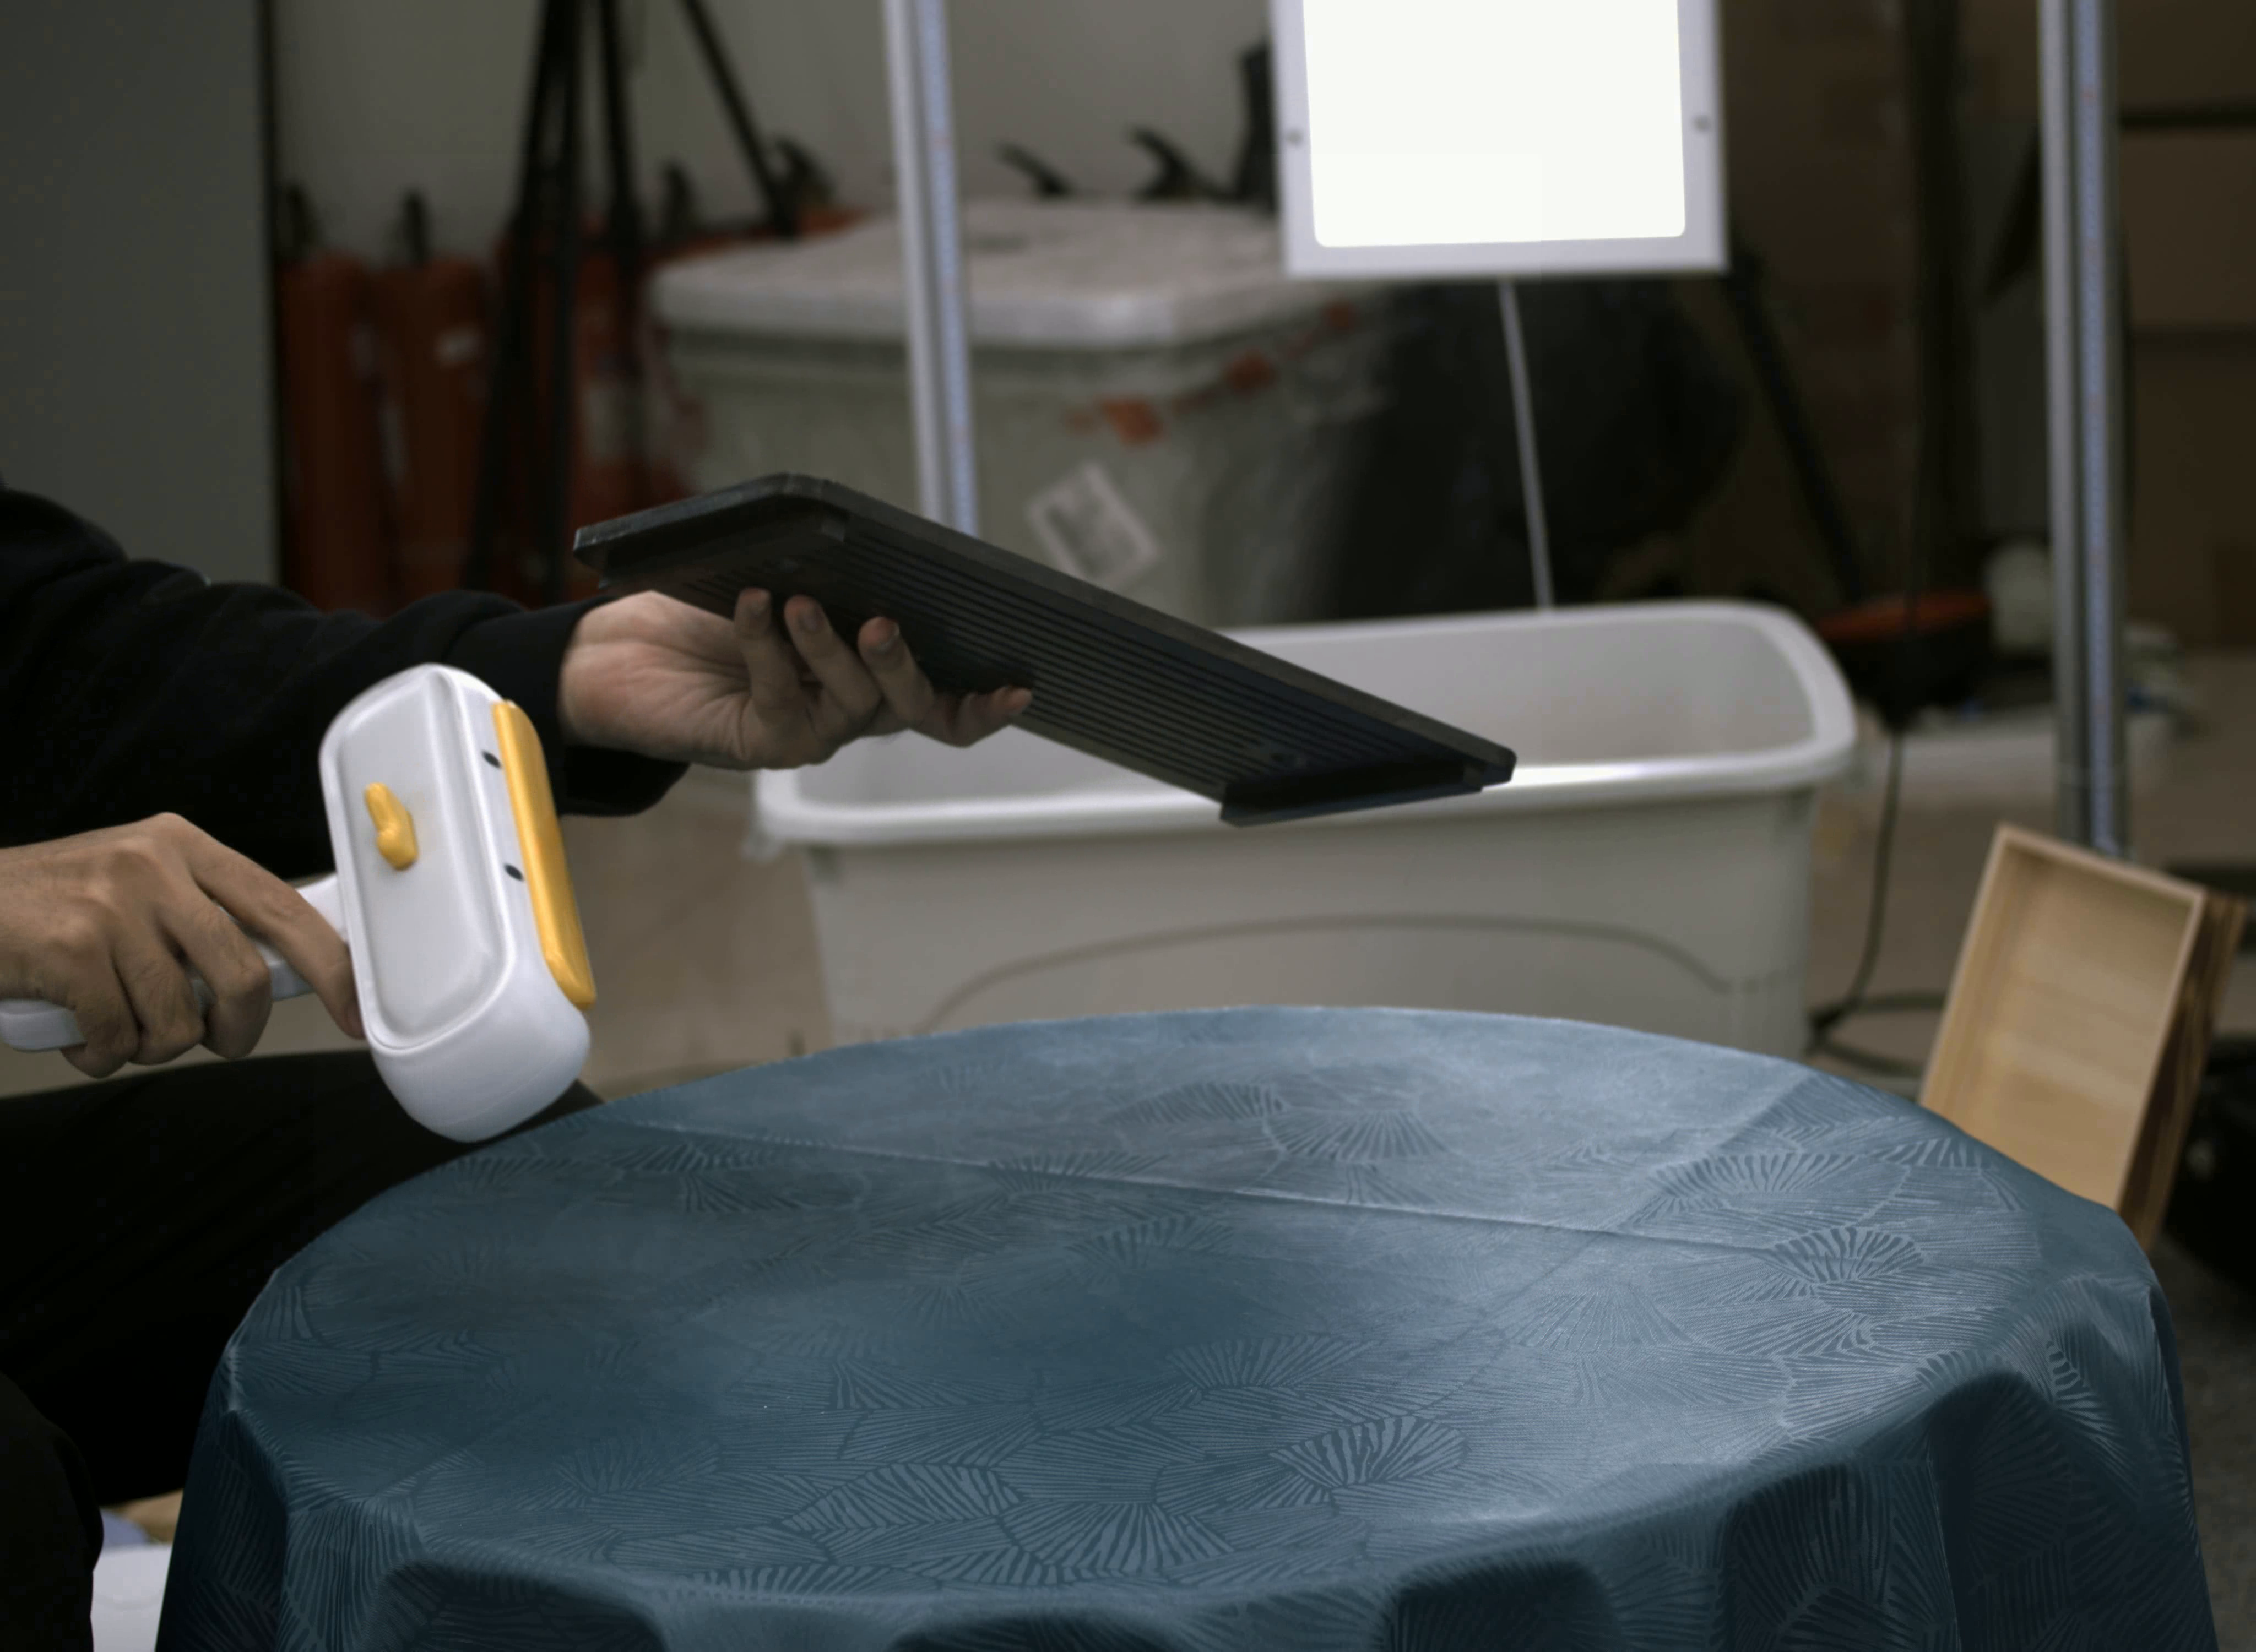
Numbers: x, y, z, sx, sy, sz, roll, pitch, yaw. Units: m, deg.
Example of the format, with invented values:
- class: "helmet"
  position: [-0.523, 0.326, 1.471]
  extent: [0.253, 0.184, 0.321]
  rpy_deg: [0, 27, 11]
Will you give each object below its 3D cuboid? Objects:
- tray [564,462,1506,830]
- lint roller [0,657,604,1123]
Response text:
- class: "tray"
  position: [-0.032, -0.056, 1.900]
  extent: [0.300, 0.018, 0.173]
  rpy_deg: [21, -15, -27]
- class: "lint roller"
  position: [-0.275, 0.039, 1.802]
  extent: [0.192, 0.074, 0.194]
  rpy_deg: [-25, 45, 2]
